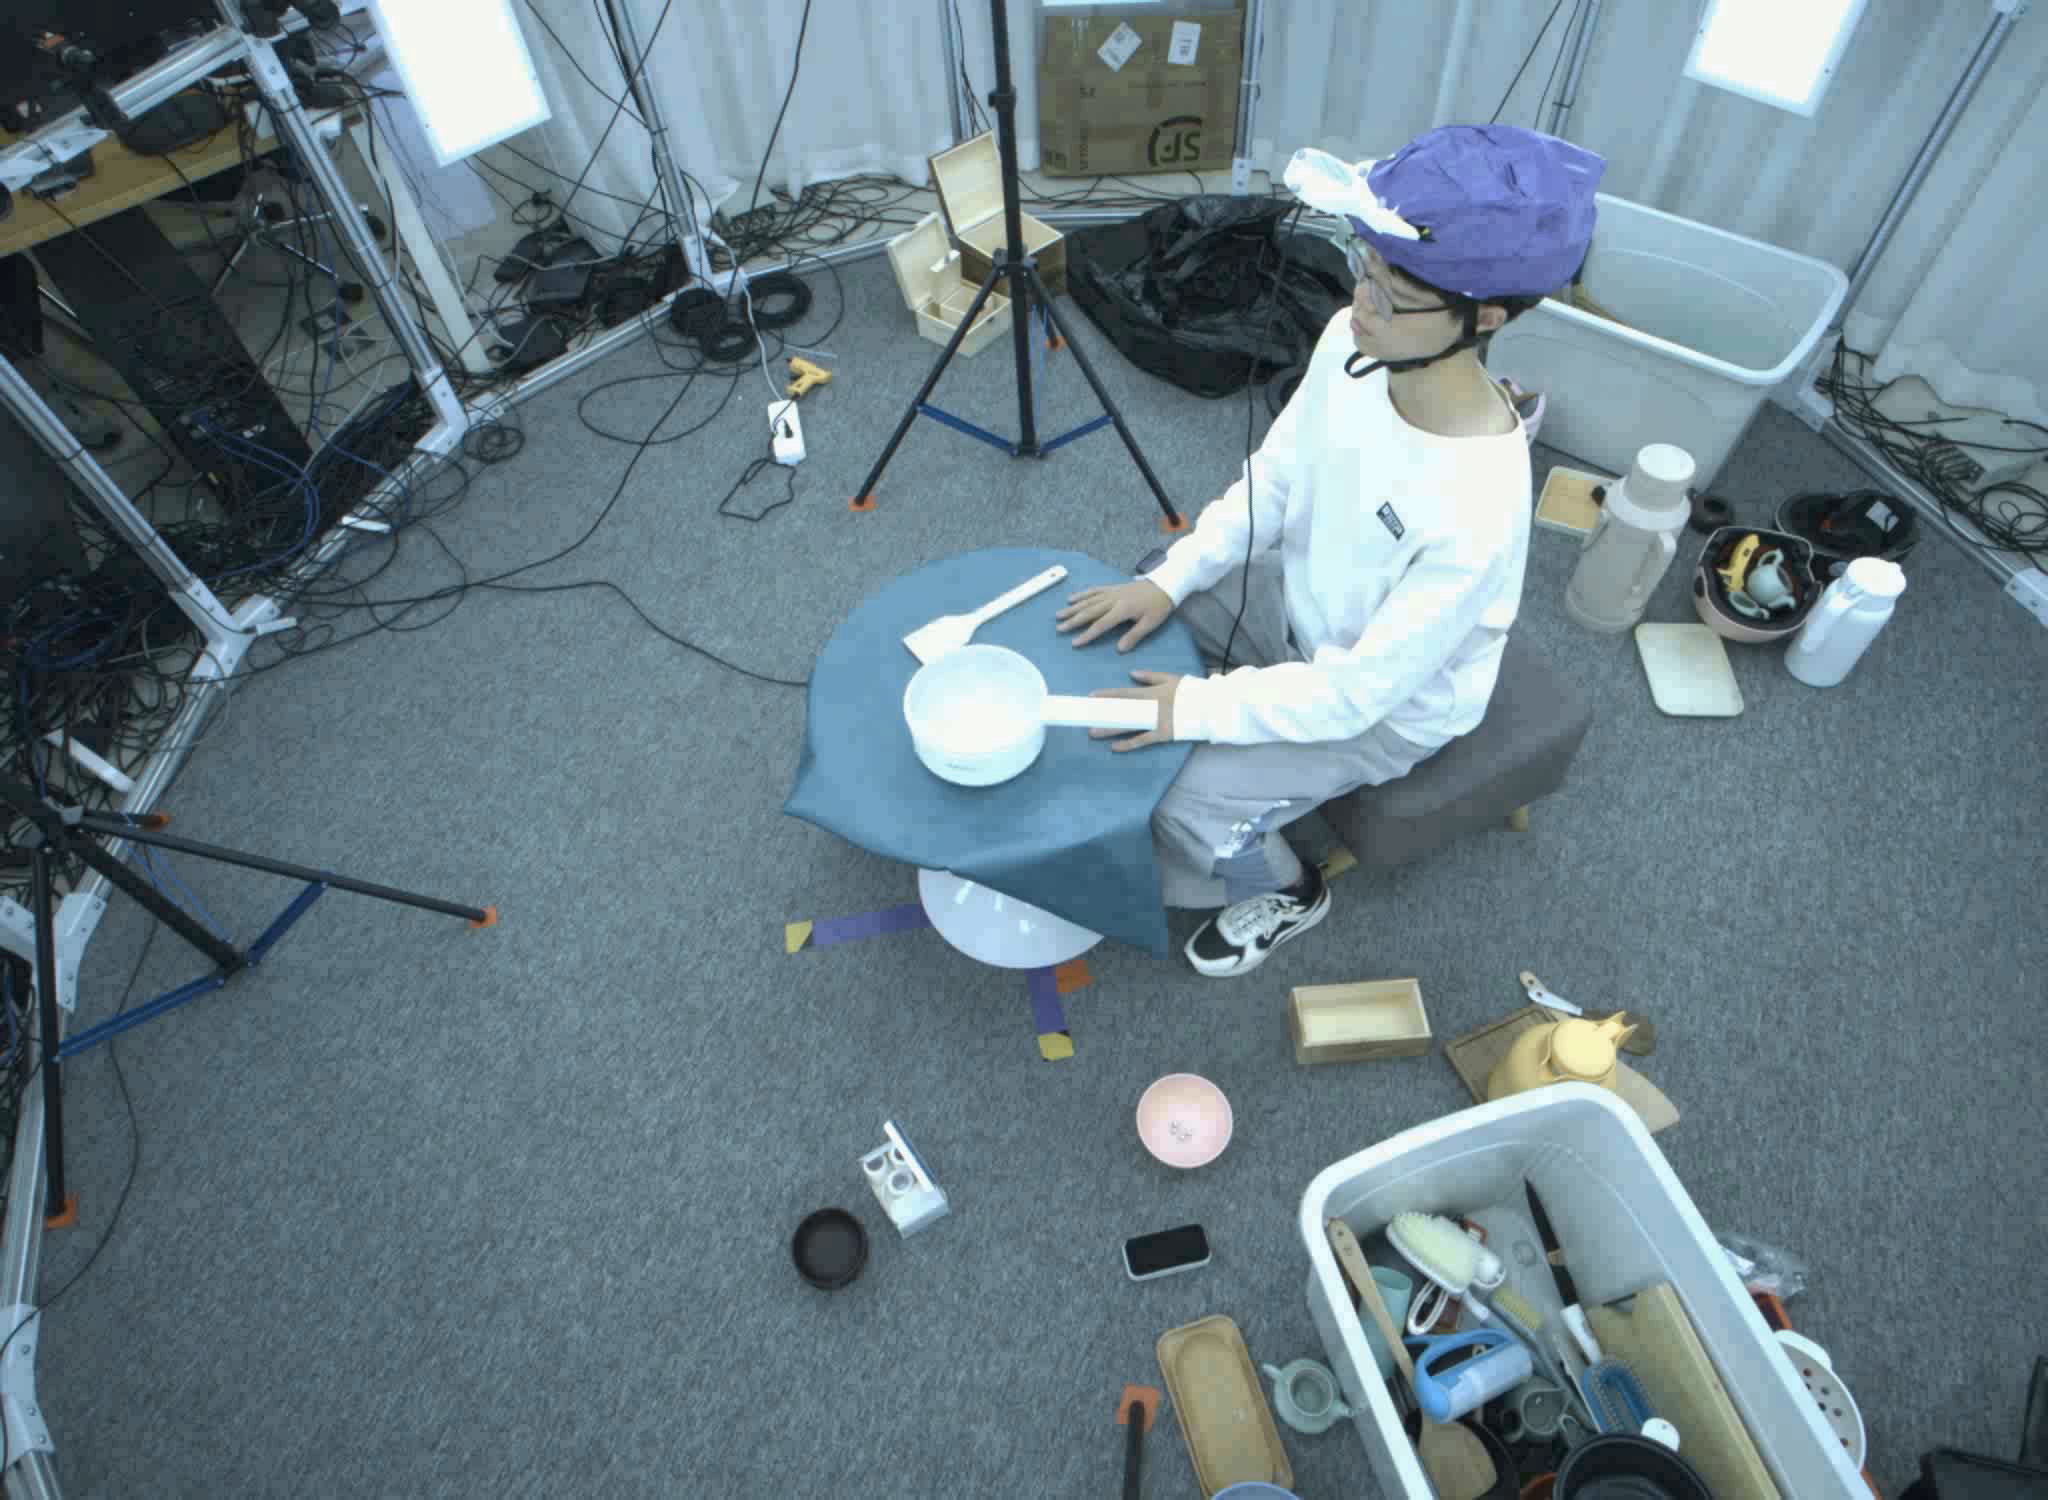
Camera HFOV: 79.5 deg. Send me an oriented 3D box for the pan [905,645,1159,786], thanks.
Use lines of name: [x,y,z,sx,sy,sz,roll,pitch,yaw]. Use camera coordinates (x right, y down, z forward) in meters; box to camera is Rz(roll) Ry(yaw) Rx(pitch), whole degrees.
pan: [0.012,-0.039,1.751,0.354,0.103,0.199,4,54,3]

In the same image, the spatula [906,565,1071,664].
spatula: [-0.049,-0.222,1.940,0.295,0.011,0.071,-31,58,-19]
